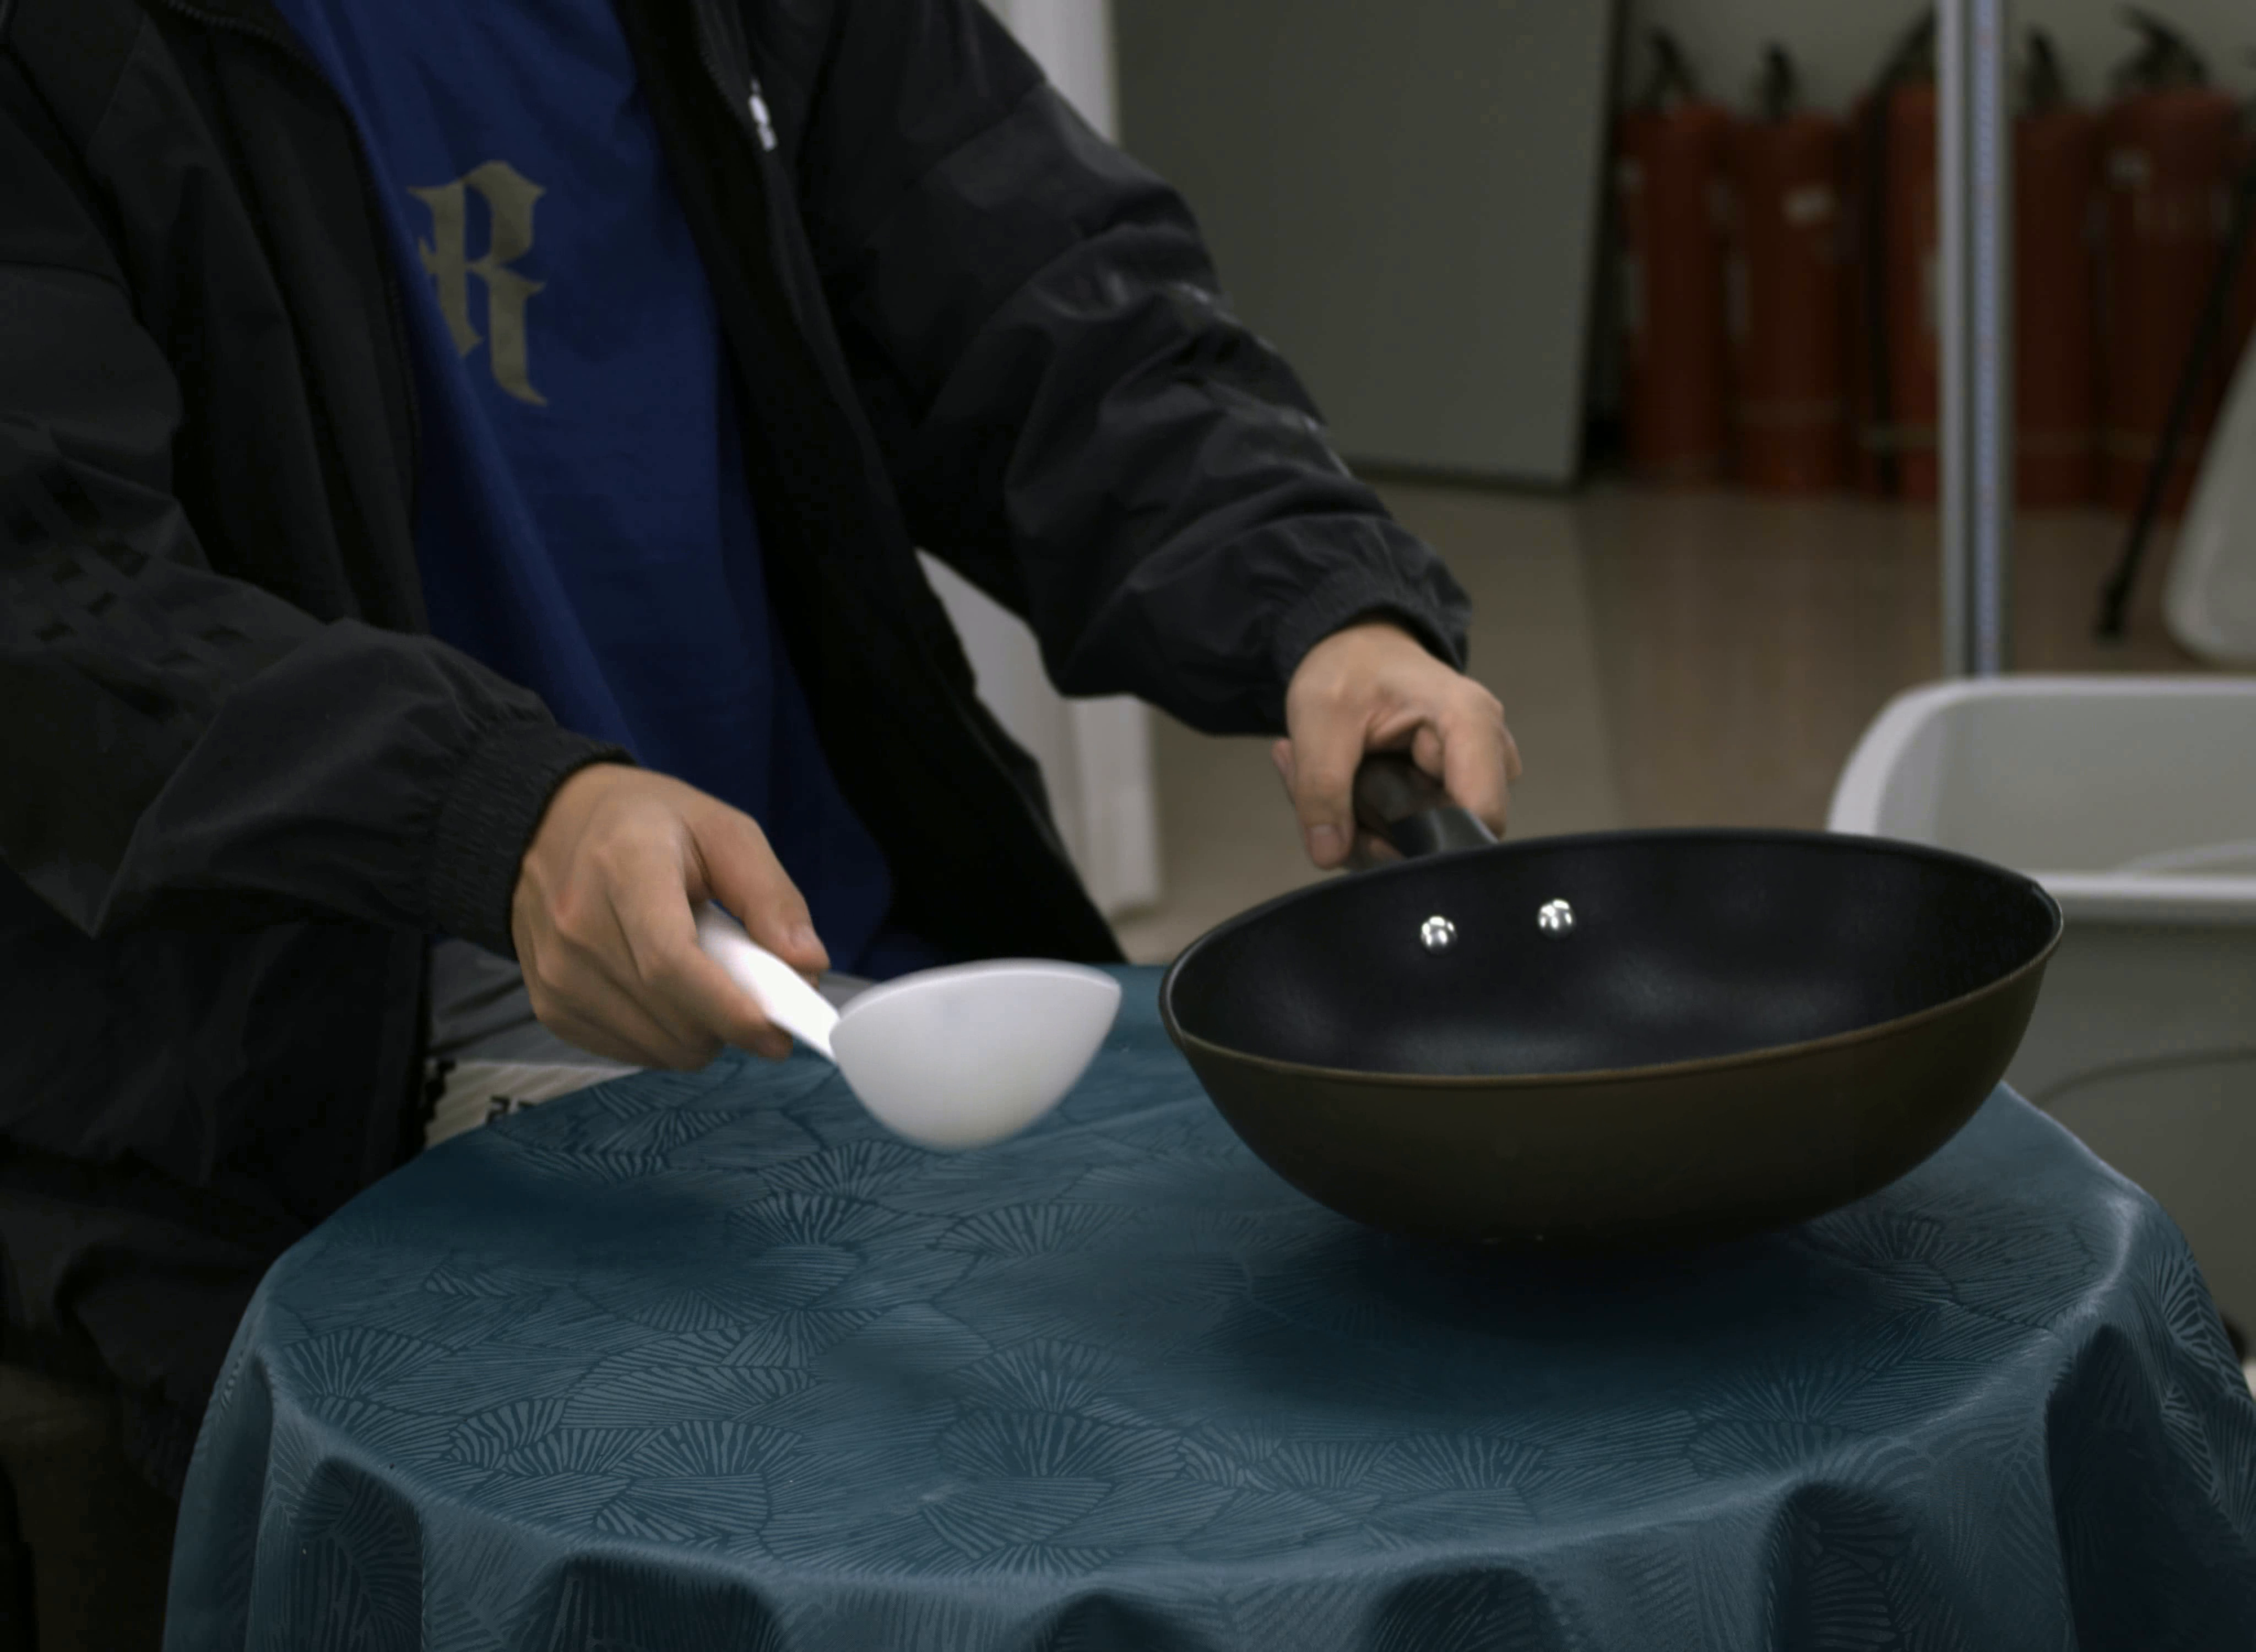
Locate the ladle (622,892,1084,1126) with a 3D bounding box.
[{"bbox_3d":[-0.100,0.041,1.696,0.088,0.071,0.296,-6,11,-22],"label":"ladle"}]

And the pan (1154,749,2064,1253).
[{"bbox_3d":[0.131,0.053,1.761,0.283,0.088,0.466,-9,13,-11],"label":"pan"}]
